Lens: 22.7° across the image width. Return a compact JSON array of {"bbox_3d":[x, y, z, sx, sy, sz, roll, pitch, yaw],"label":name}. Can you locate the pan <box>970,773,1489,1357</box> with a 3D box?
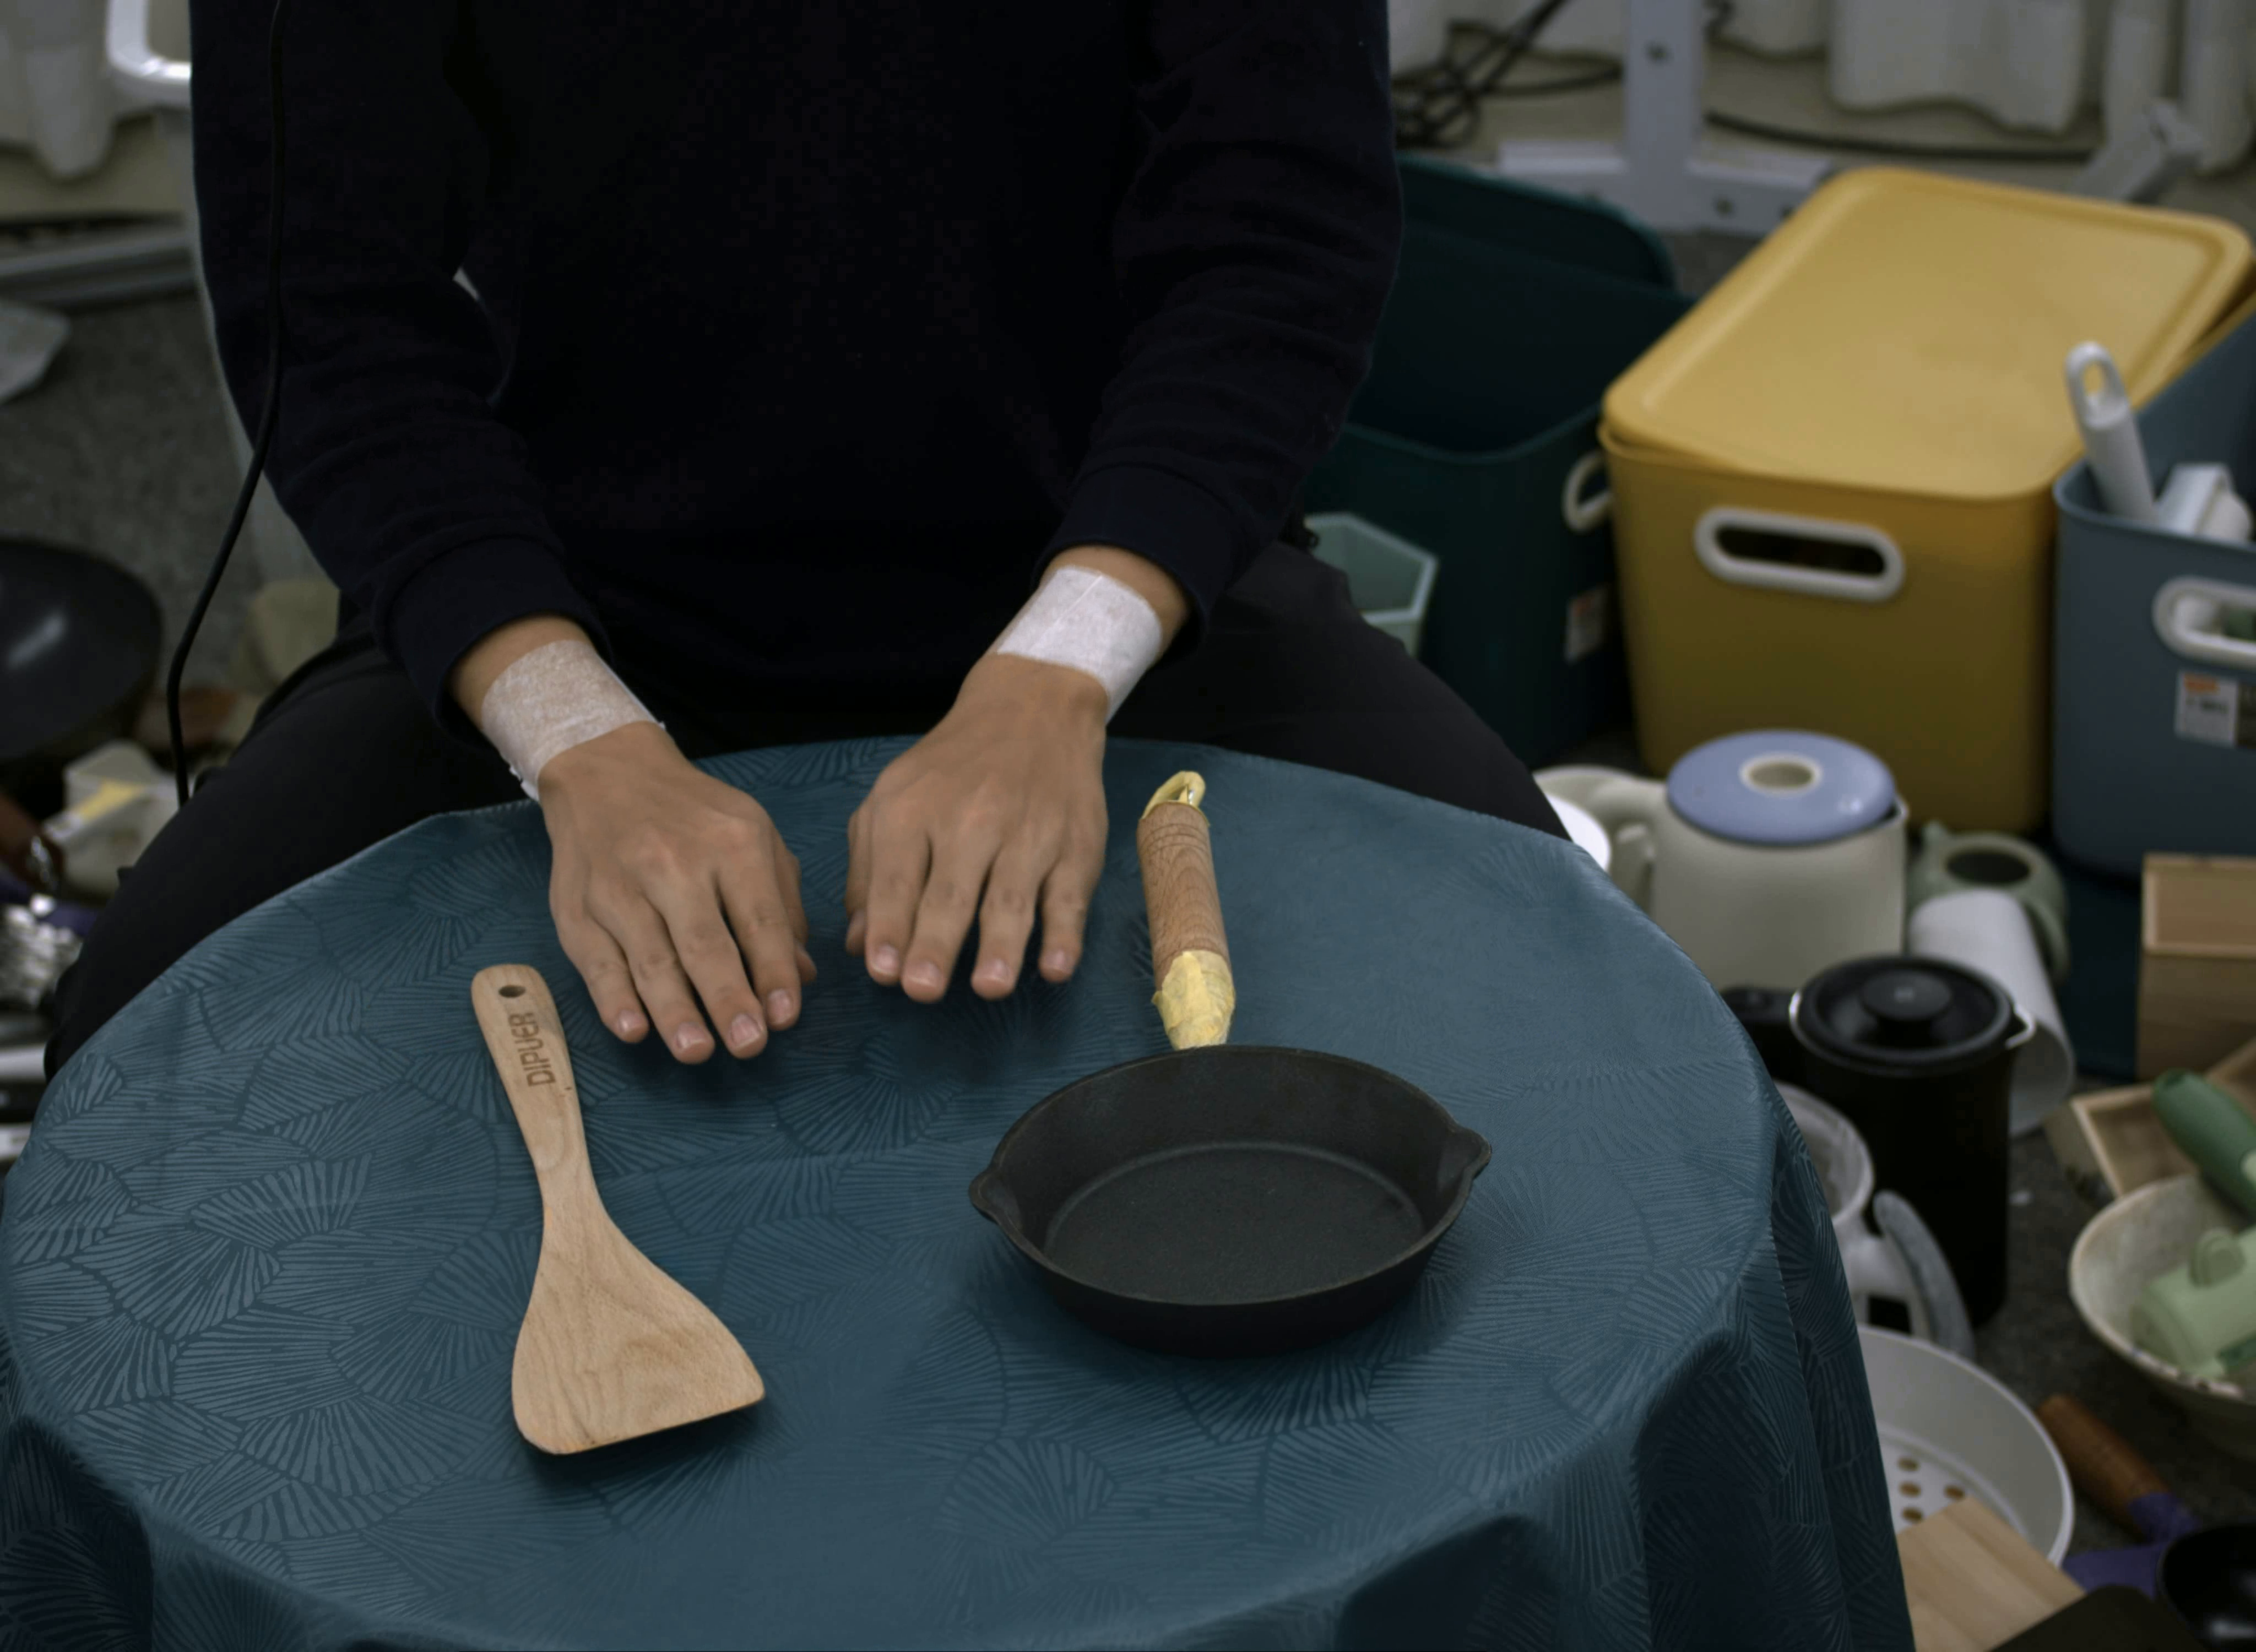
[{"bbox_3d":[0.029,0.077,1.890,0.168,0.049,0.329,-4,29,-1],"label":"pan"}]

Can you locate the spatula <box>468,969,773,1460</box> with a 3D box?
[{"bbox_3d":[-0.183,0.122,1.862,0.080,0.016,0.331,-8,28,-12],"label":"spatula"}]
